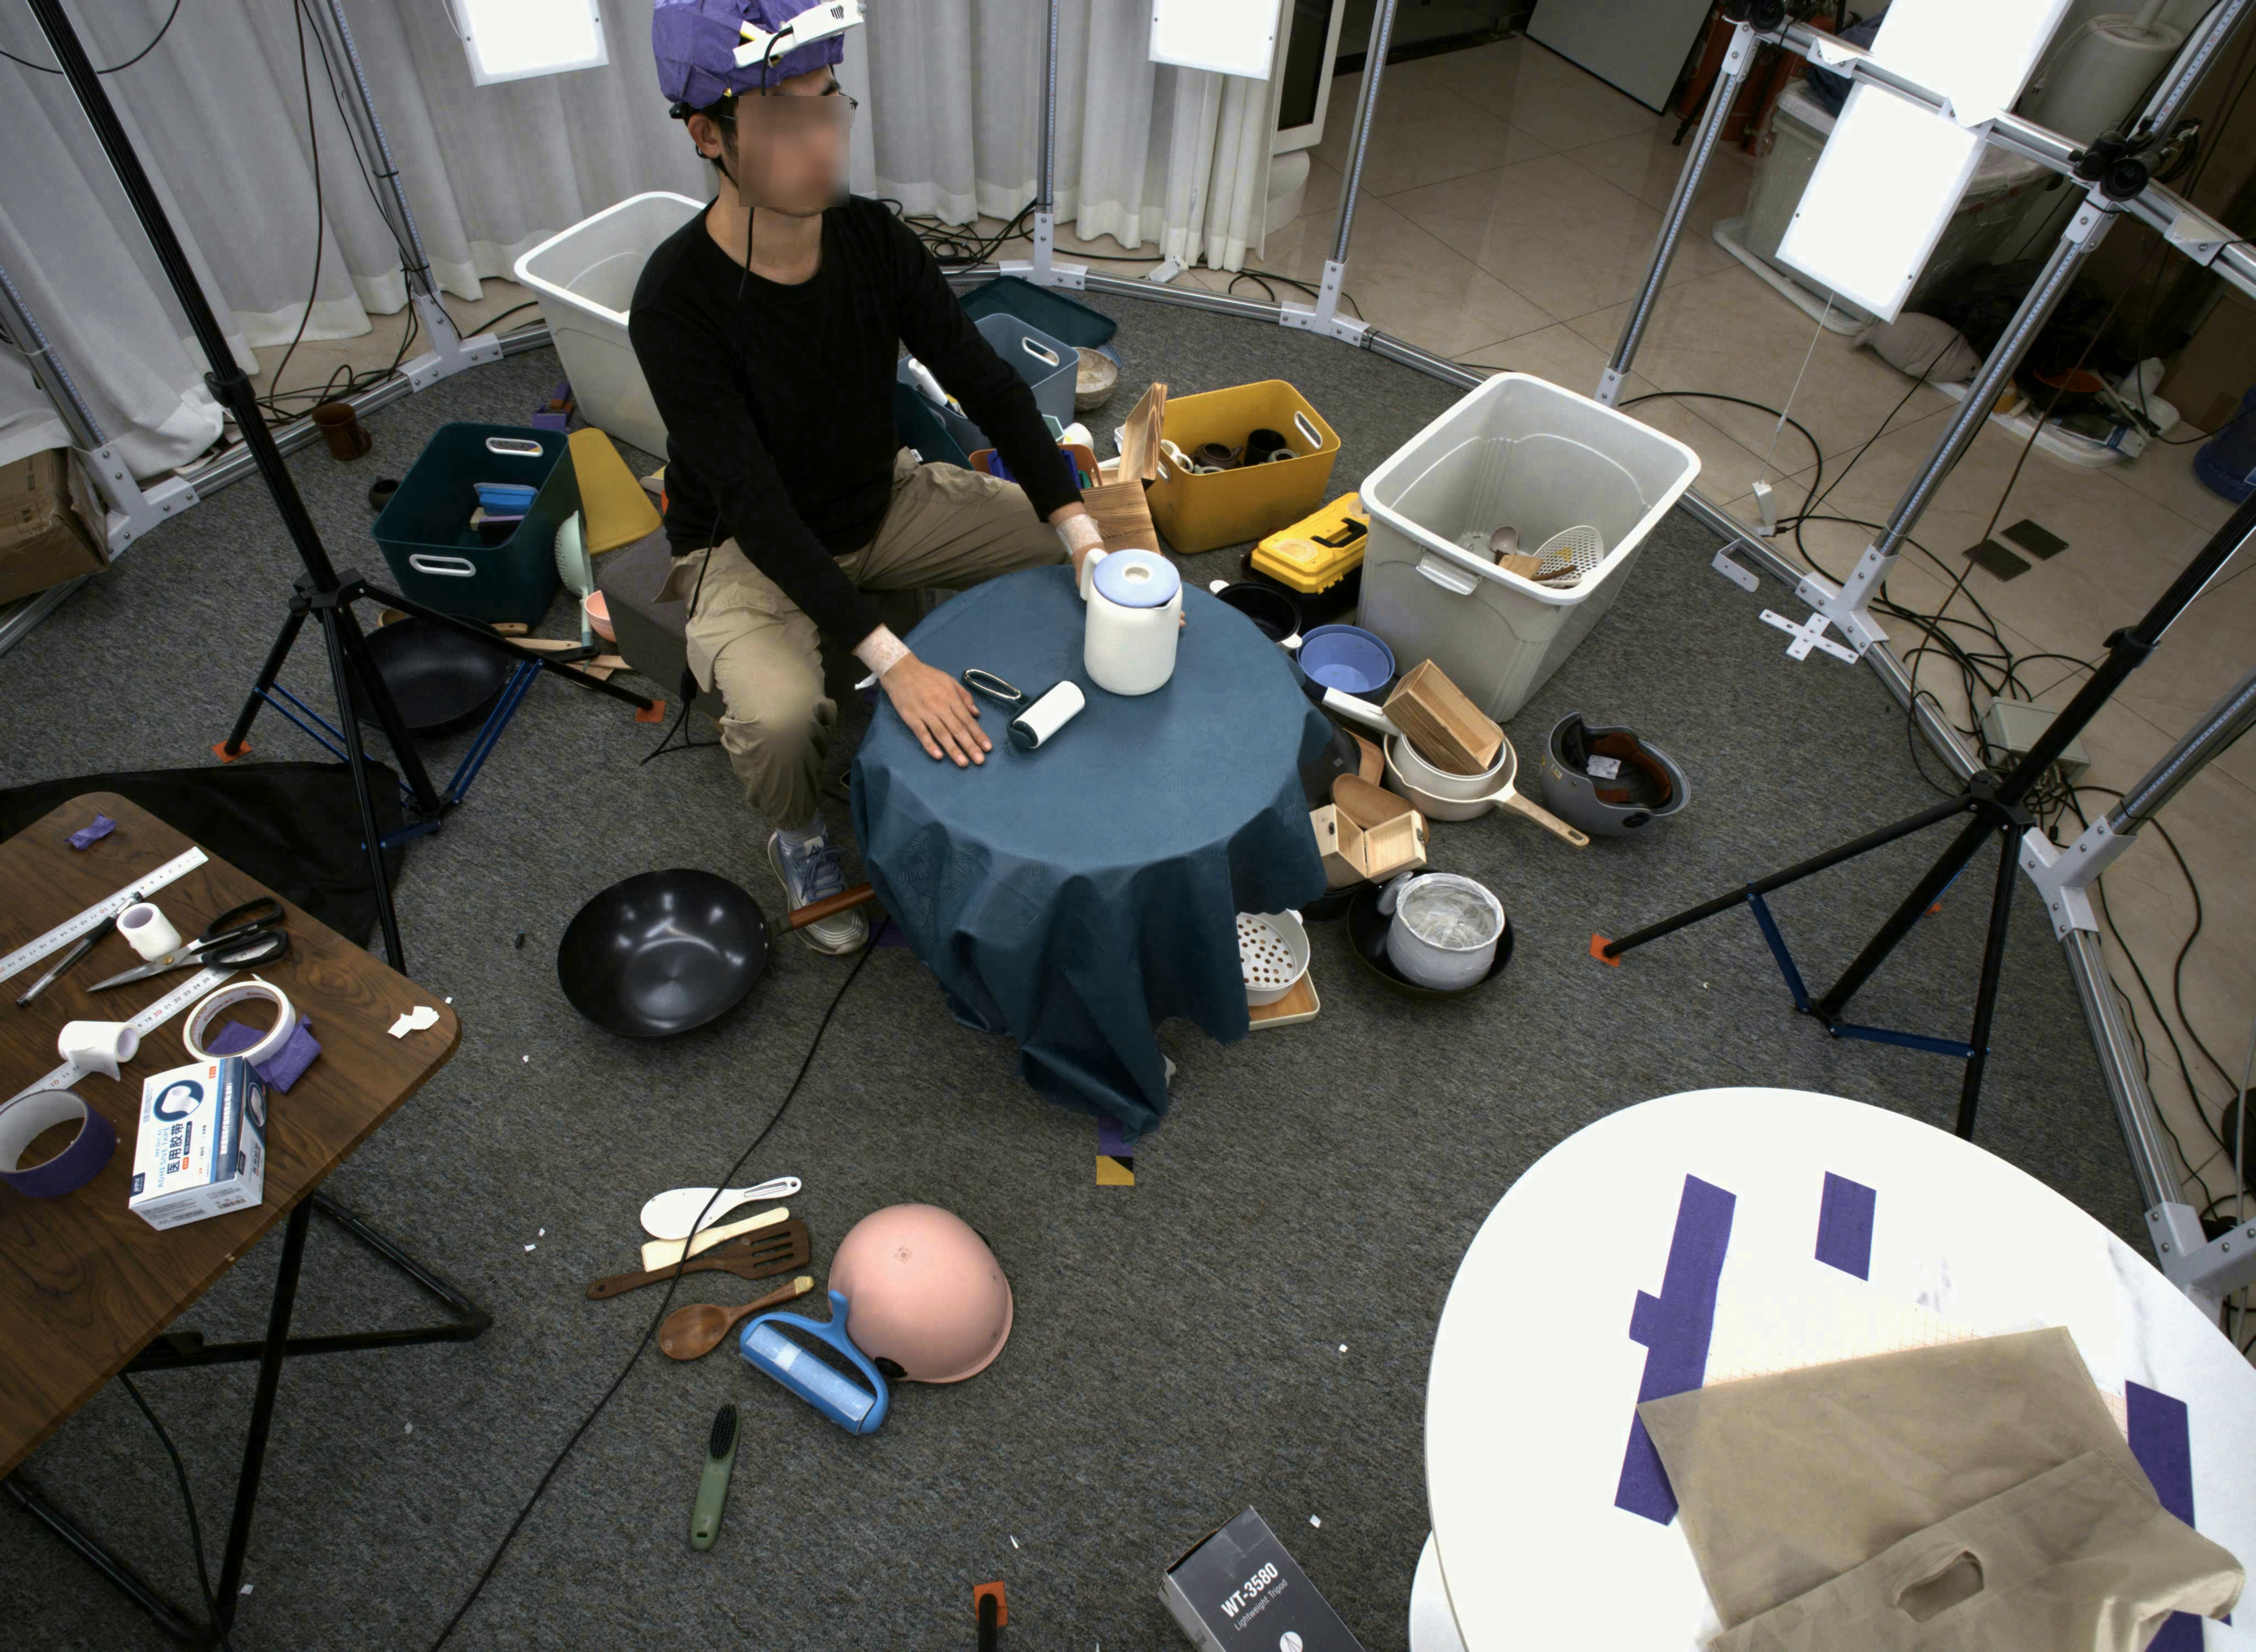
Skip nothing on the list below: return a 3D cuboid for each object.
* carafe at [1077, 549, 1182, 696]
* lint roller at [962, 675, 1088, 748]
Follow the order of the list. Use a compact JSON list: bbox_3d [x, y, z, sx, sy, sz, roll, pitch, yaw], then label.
[{"bbox_3d":[-0.008,-0.301,1.820,0.133,0.178,0.194,-28,55,-26],"label":"carafe"},{"bbox_3d":[-0.163,-0.186,1.793,0.182,0.047,0.136,30,53,24],"label":"lint roller"}]
